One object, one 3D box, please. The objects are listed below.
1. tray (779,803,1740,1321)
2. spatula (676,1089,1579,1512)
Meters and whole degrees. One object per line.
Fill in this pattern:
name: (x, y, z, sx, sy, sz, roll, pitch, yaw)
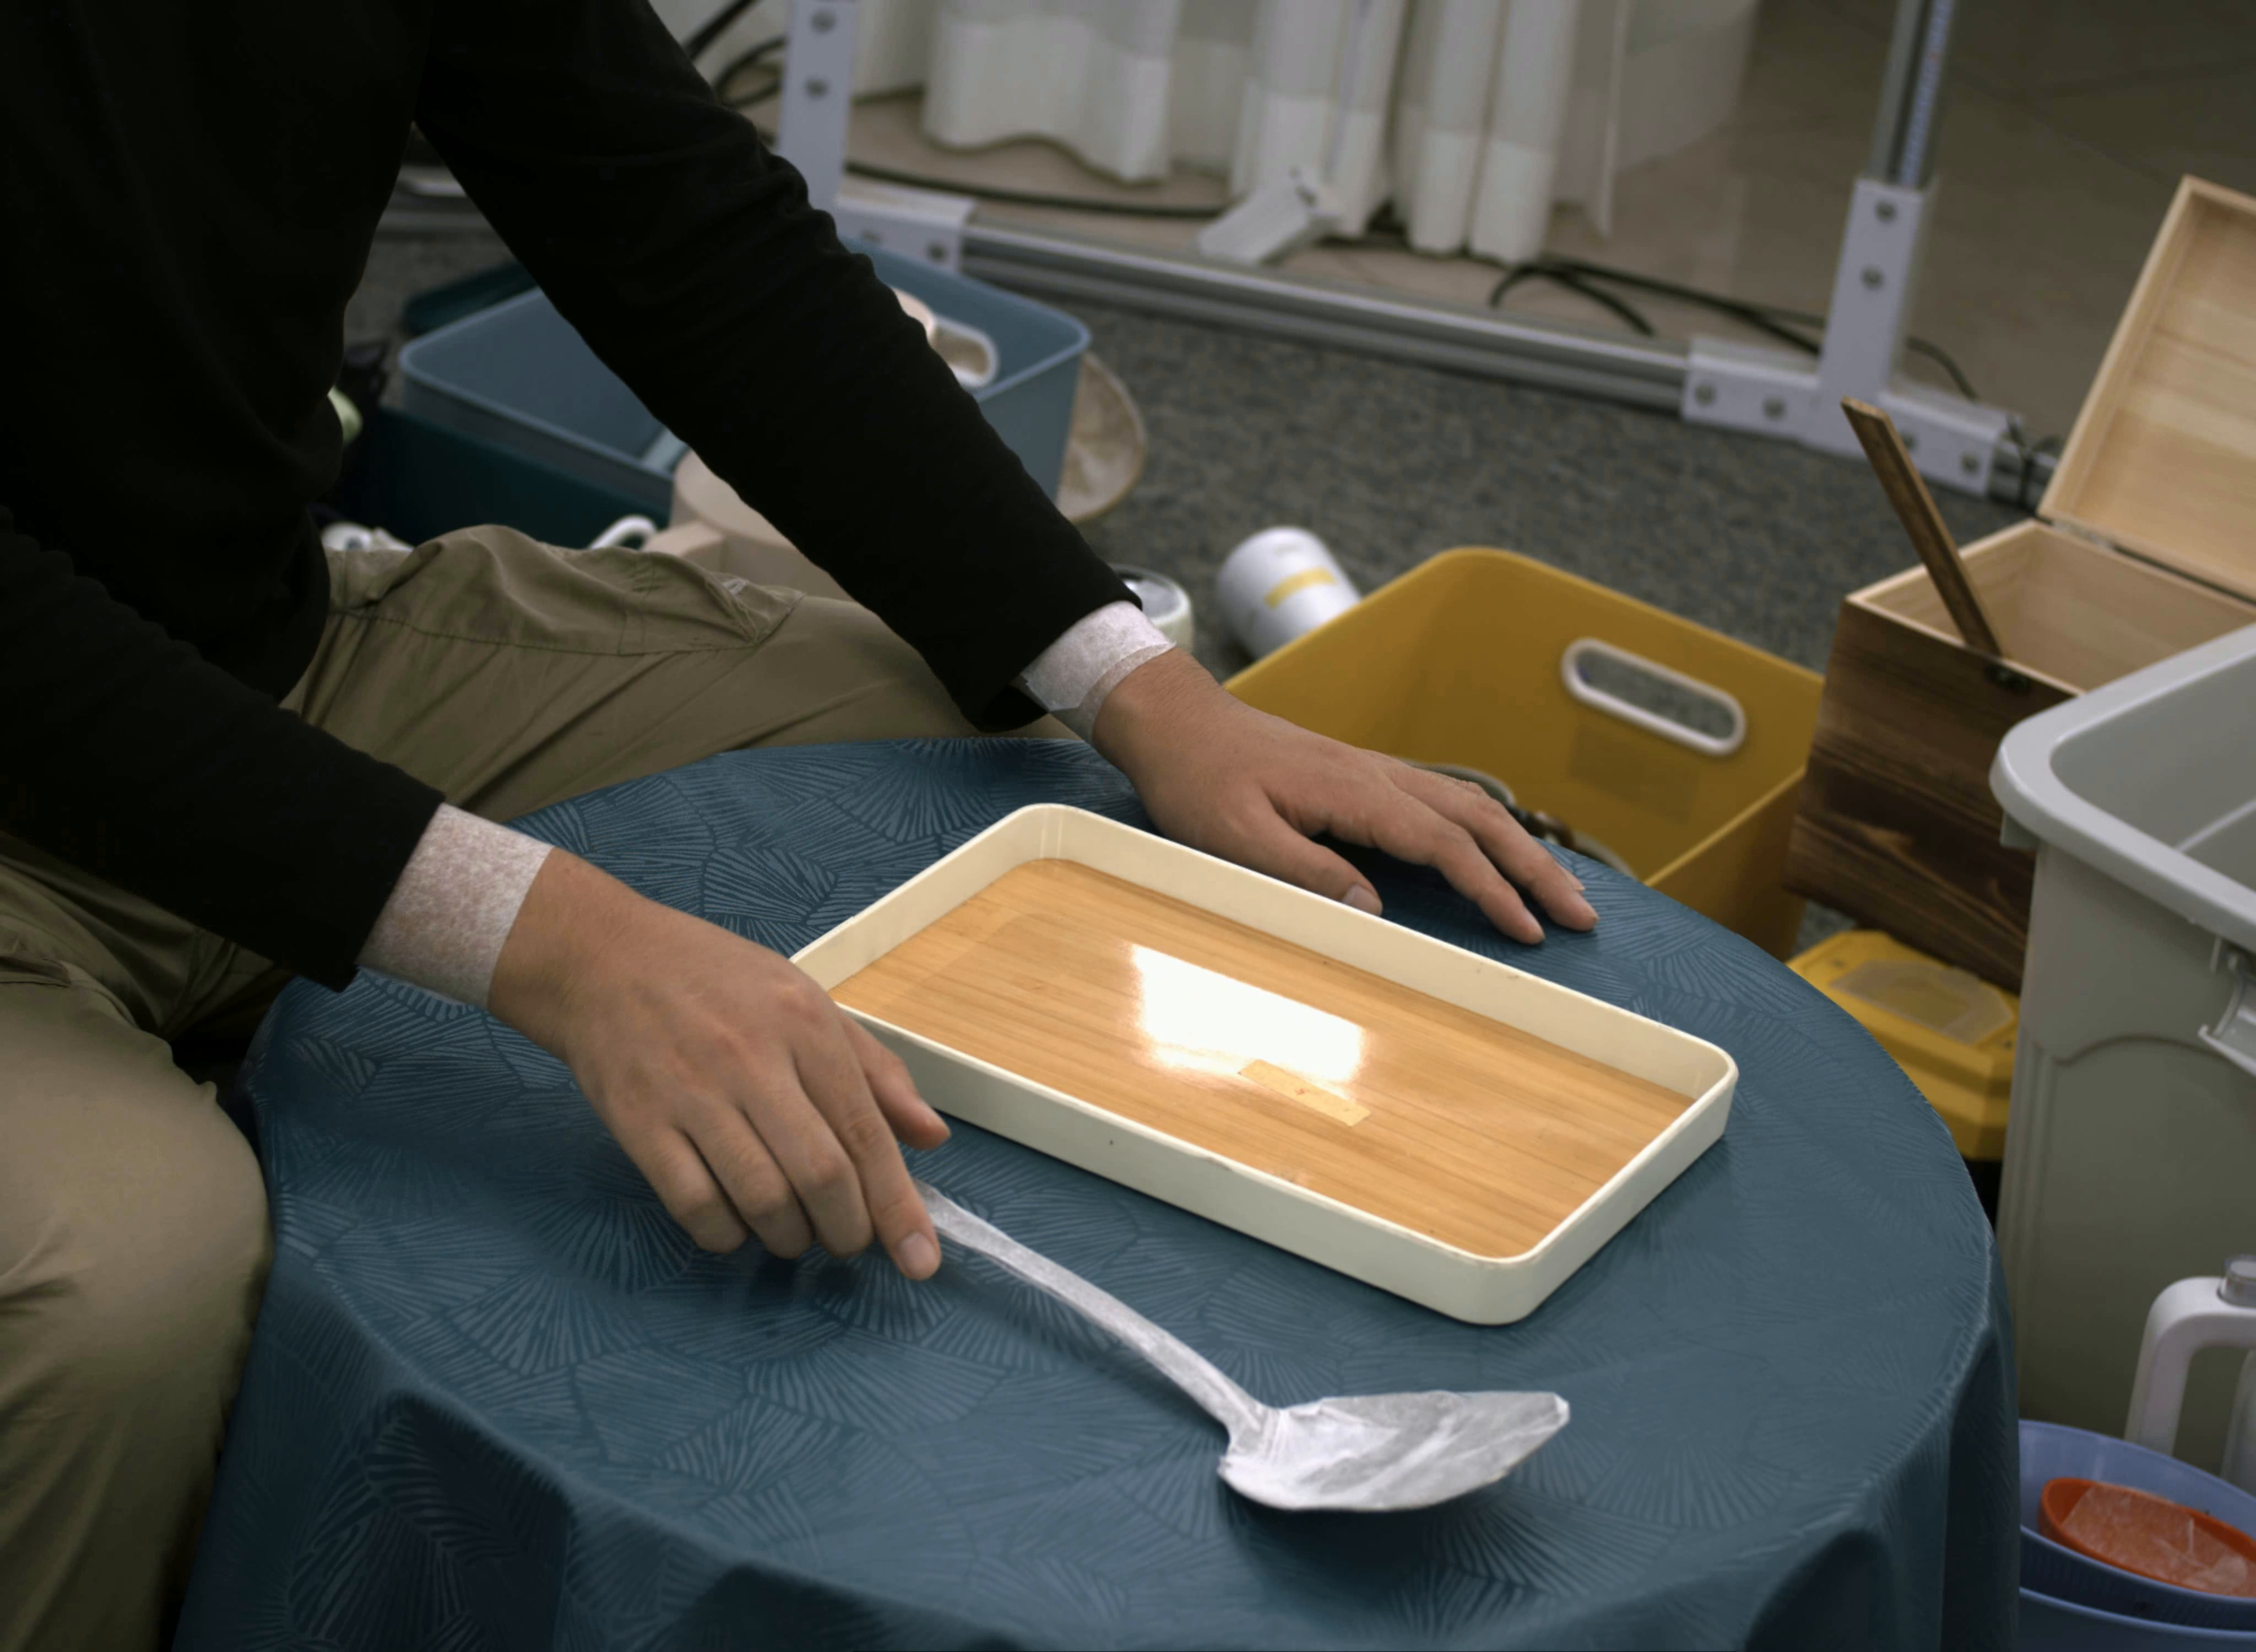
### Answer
tray: (0.046, 0.078, 1.871, 0.302, 0.027, 0.191, 20, 30, 26)
spatula: (-0.021, 0.144, 1.715, 0.367, 0.044, 0.098, 26, 33, 33)
